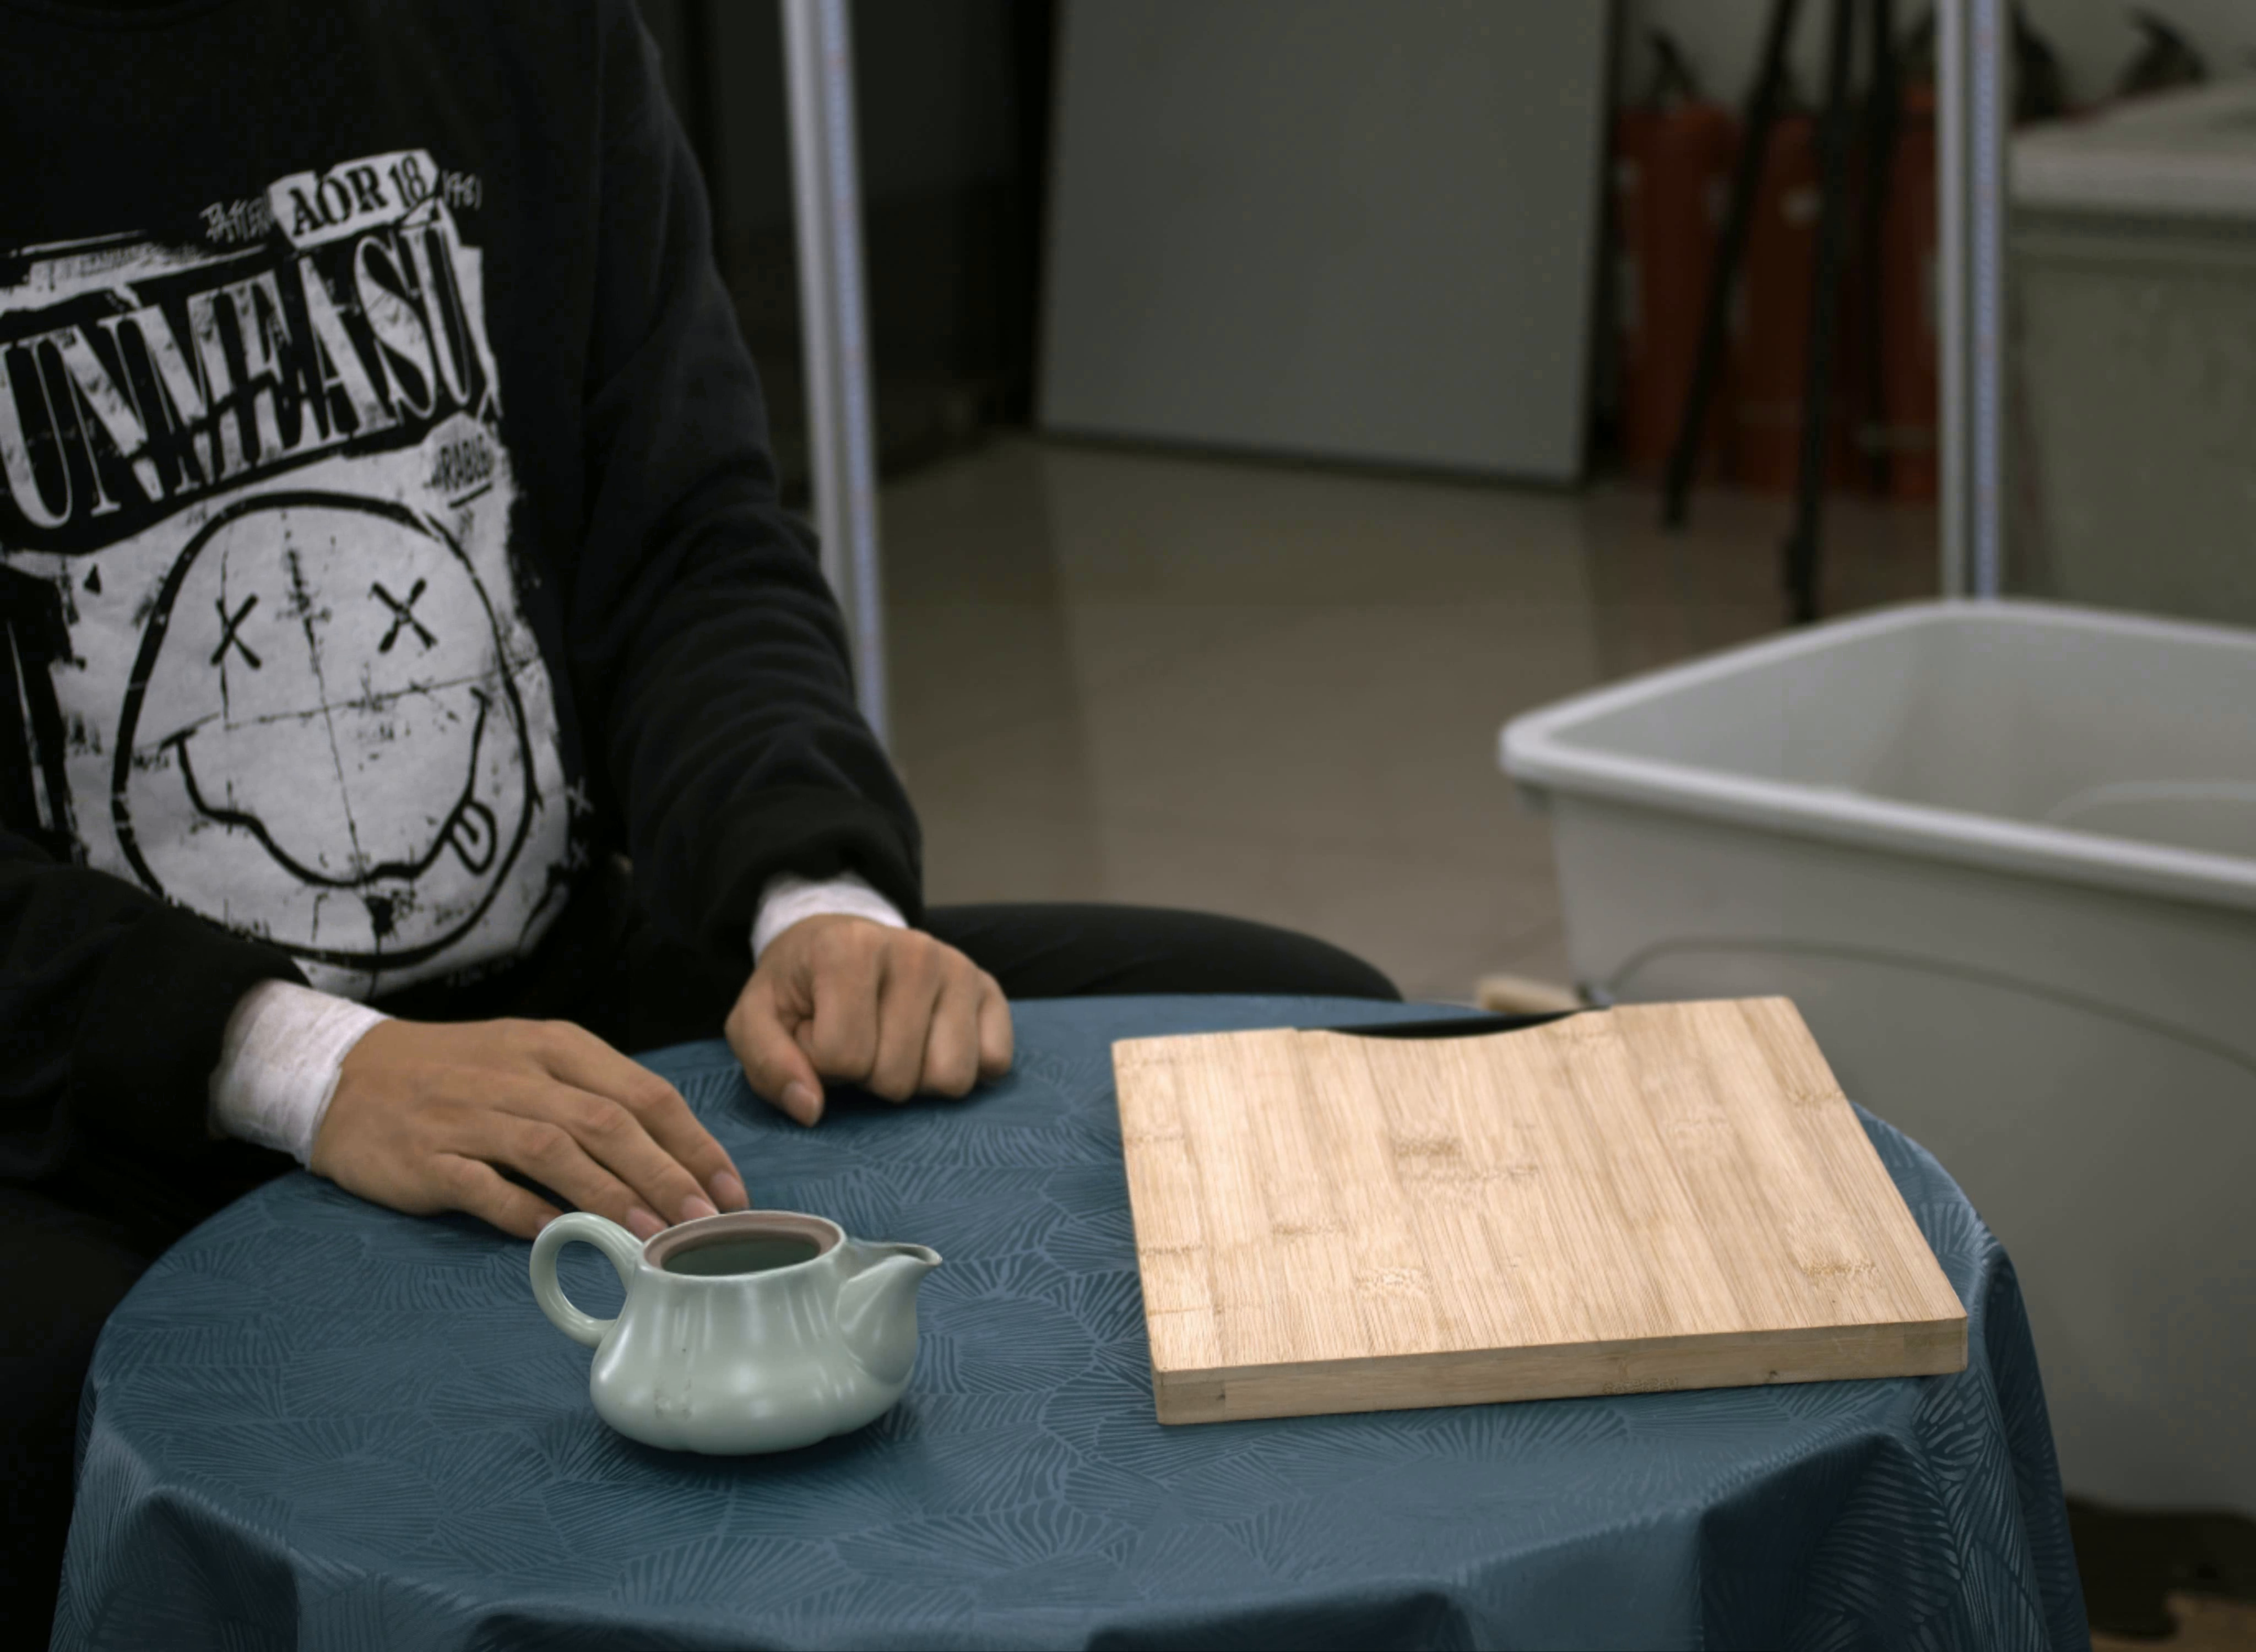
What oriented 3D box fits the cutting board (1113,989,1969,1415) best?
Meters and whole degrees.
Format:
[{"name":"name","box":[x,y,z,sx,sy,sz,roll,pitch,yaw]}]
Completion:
[{"name":"cutting board","box":[0.120,0.116,1.725,0.247,0.024,0.349,-5,14,-1]}]

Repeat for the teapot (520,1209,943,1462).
[{"name":"teapot","box":[-0.115,0.147,1.578,0.137,0.062,0.095,2,16,23]}]
